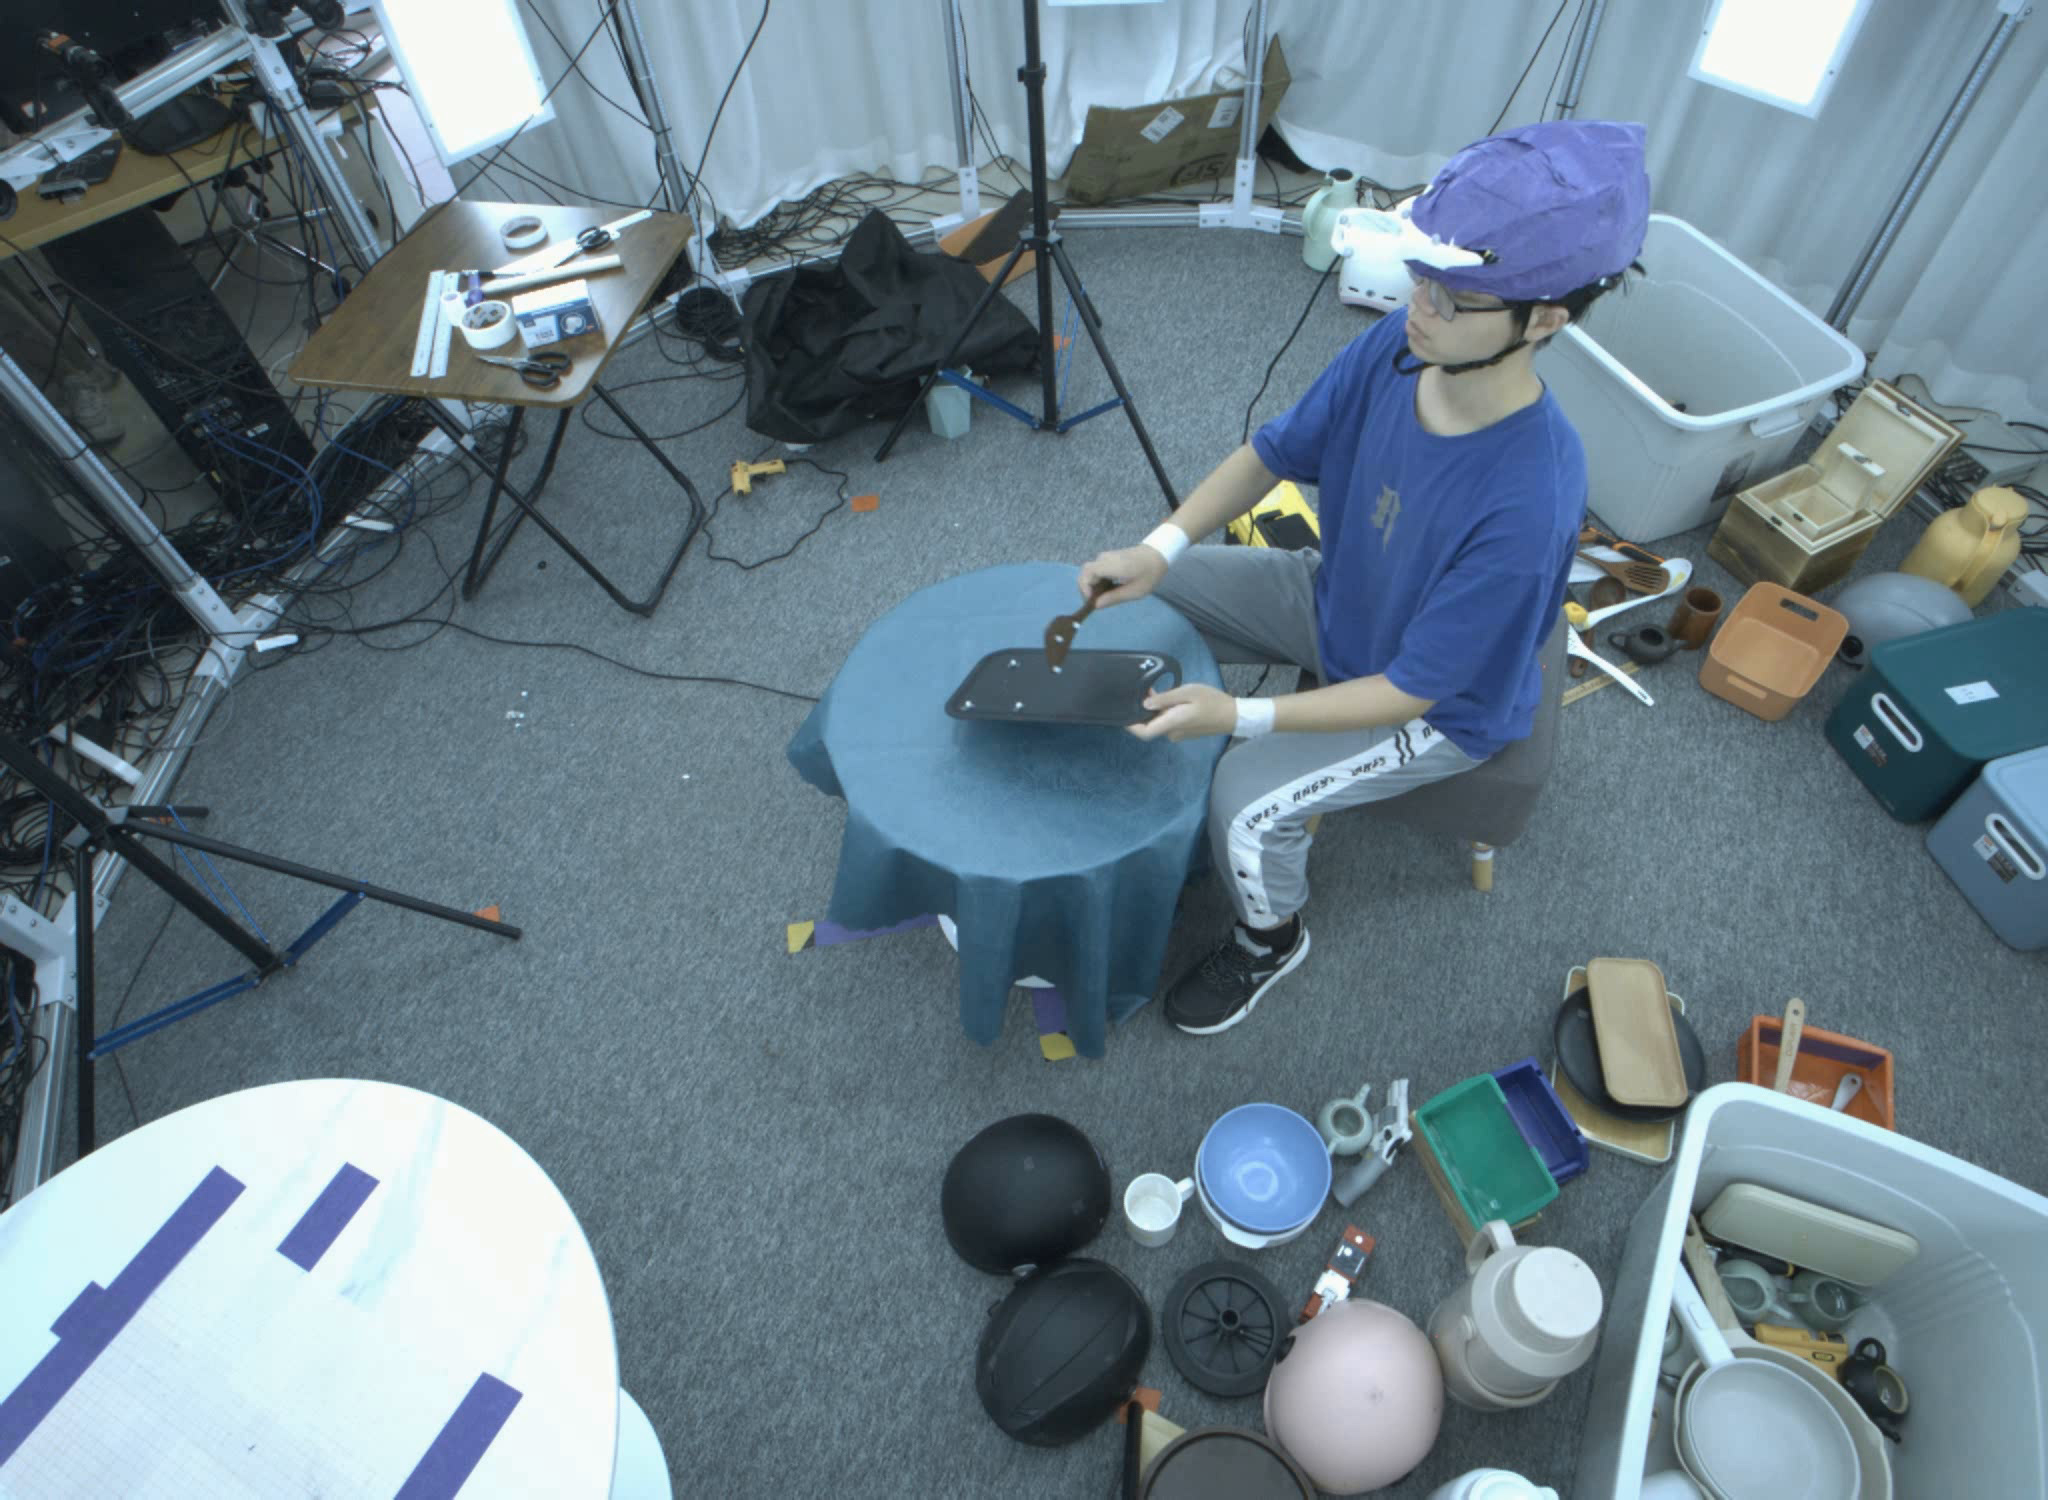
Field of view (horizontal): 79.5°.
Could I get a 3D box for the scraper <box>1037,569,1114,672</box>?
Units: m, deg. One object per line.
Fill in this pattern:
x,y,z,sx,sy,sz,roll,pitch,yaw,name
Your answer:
0.073,-0.192,1.718,0.010,0.077,0.212,13,44,30,scraper

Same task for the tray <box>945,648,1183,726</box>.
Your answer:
0.061,-0.094,1.731,0.321,0.010,0.211,3,33,21,tray
